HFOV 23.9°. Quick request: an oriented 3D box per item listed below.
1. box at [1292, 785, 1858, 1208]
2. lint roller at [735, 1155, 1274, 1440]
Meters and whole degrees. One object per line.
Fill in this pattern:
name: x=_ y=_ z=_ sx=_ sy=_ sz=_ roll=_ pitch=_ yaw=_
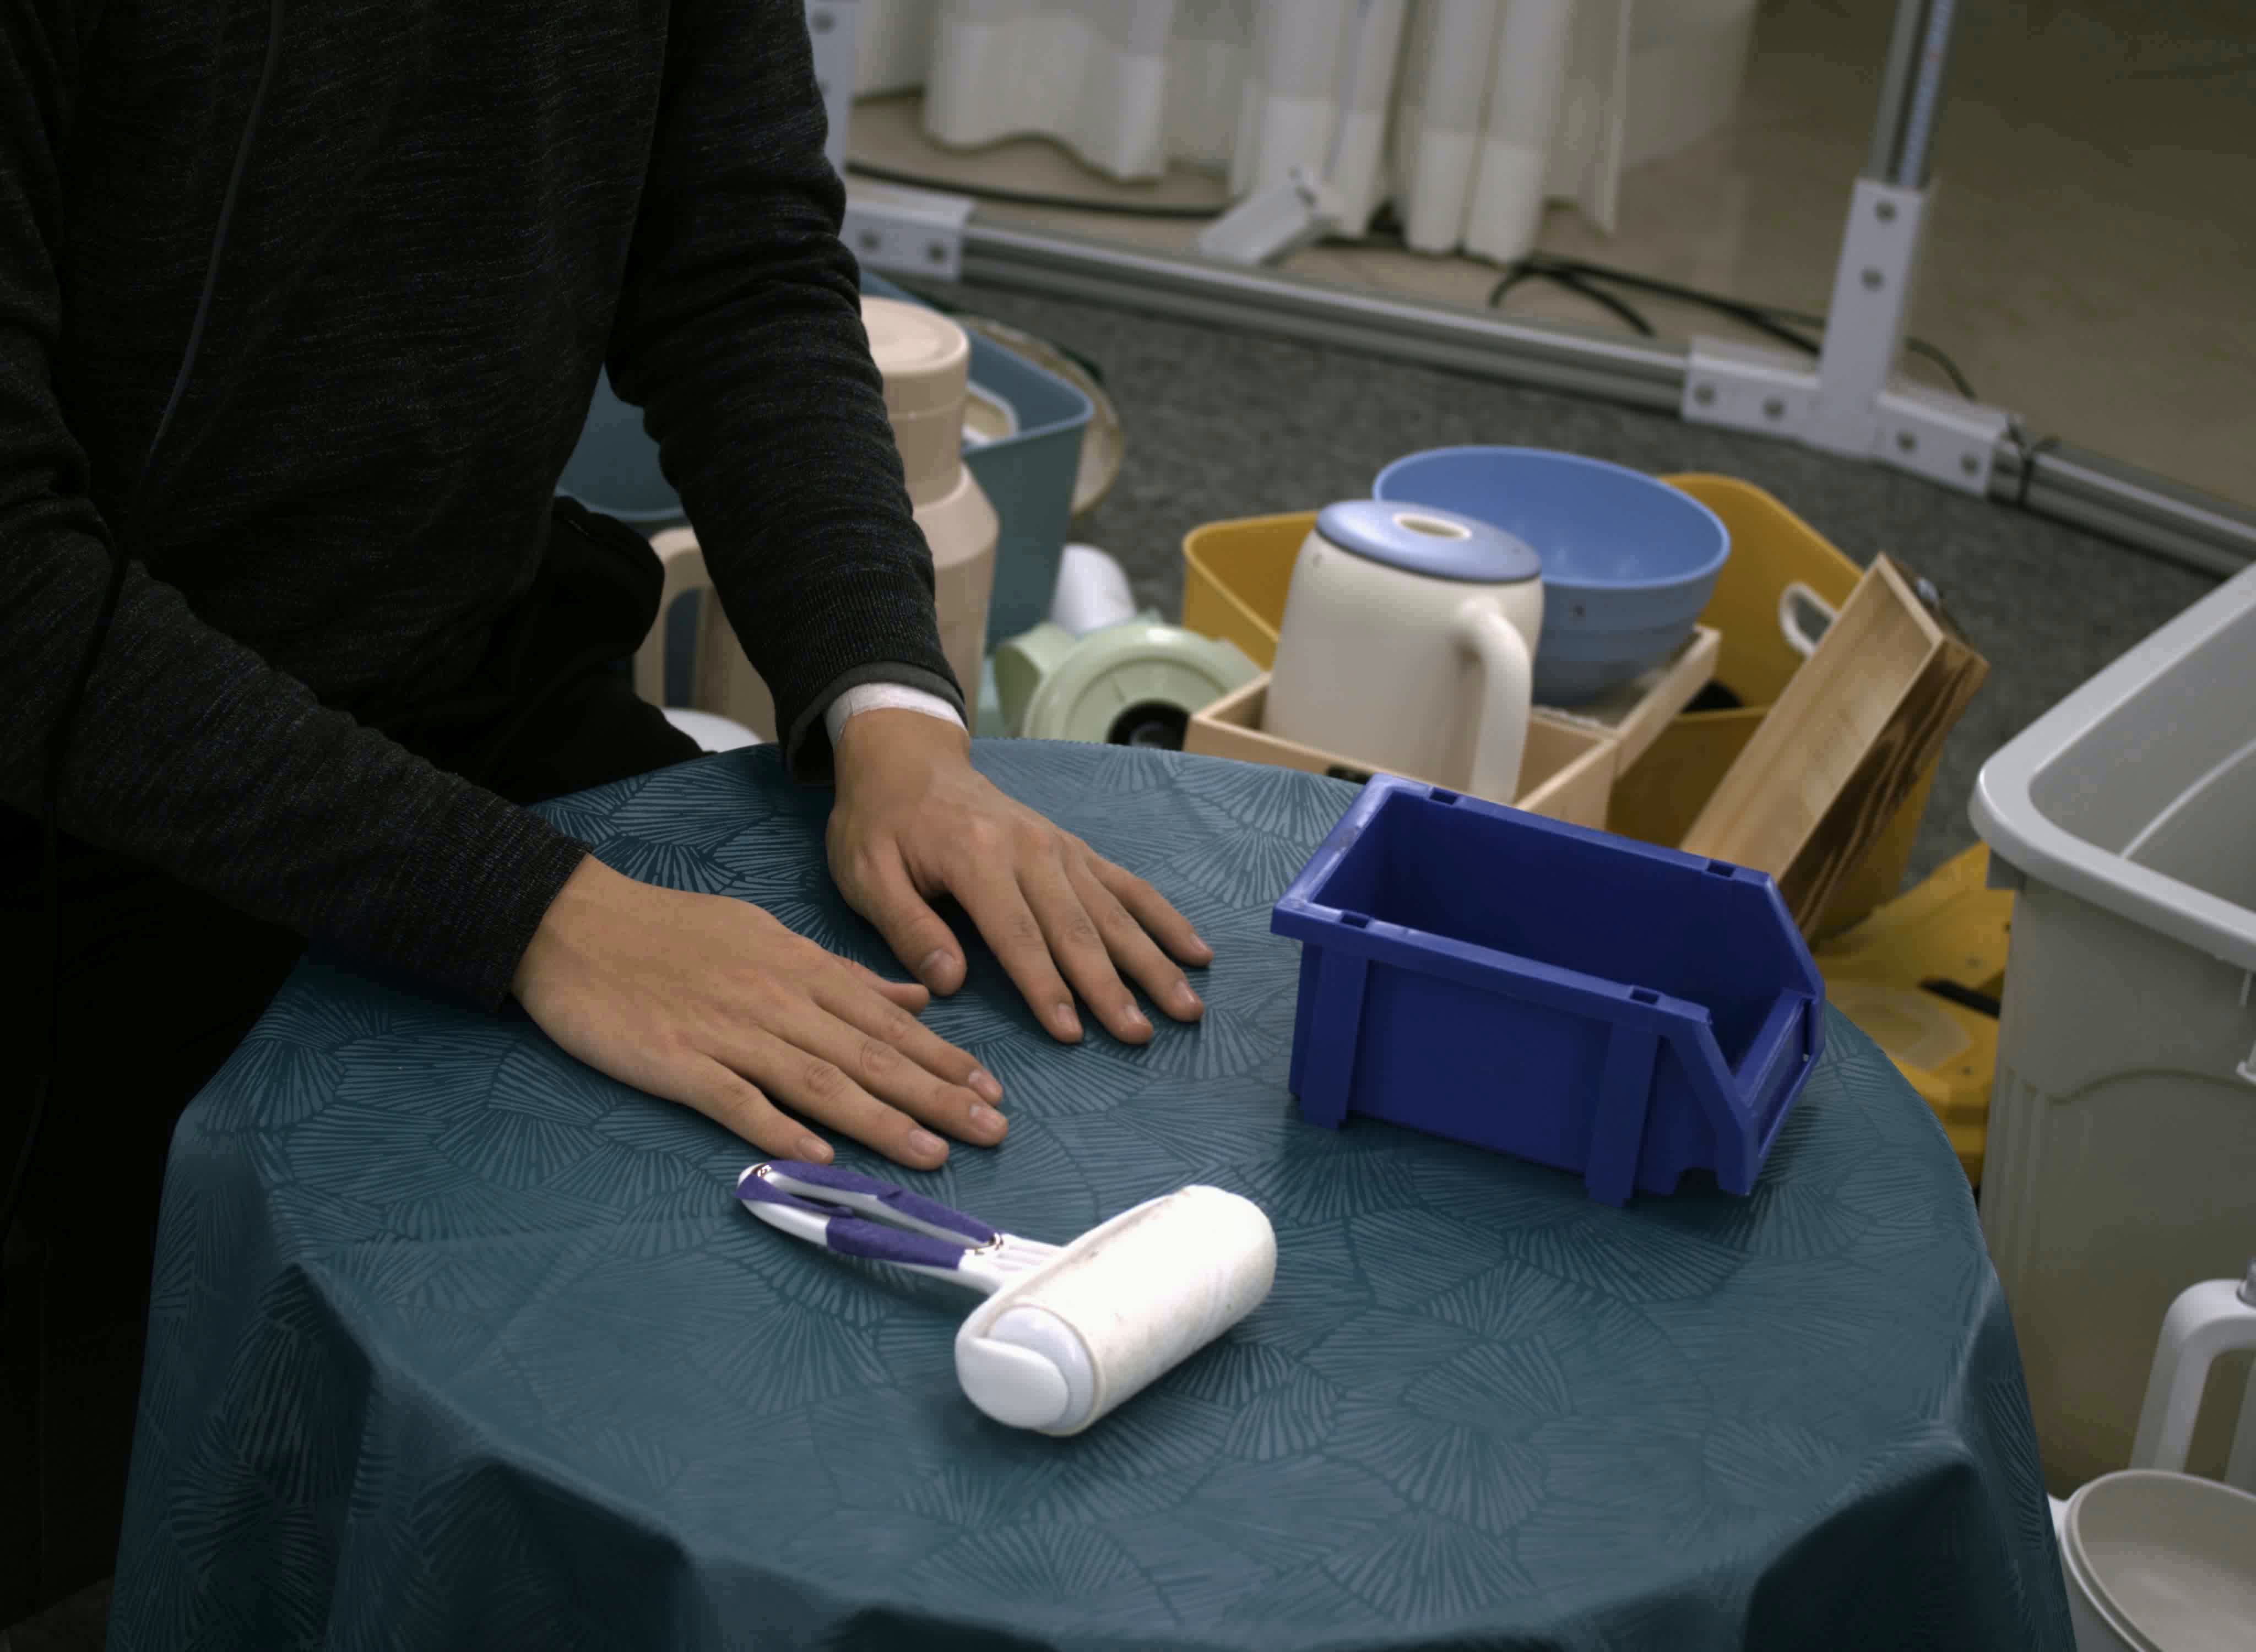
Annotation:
box: x=0.159 y=0.062 z=1.869 sx=0.180 sy=0.081 sz=0.124 roll=13 pitch=27 yaw=18
lint roller: x=-0.052 y=0.130 z=1.725 sx=0.182 sy=0.050 sz=0.132 roll=25 pitch=33 yaw=29
